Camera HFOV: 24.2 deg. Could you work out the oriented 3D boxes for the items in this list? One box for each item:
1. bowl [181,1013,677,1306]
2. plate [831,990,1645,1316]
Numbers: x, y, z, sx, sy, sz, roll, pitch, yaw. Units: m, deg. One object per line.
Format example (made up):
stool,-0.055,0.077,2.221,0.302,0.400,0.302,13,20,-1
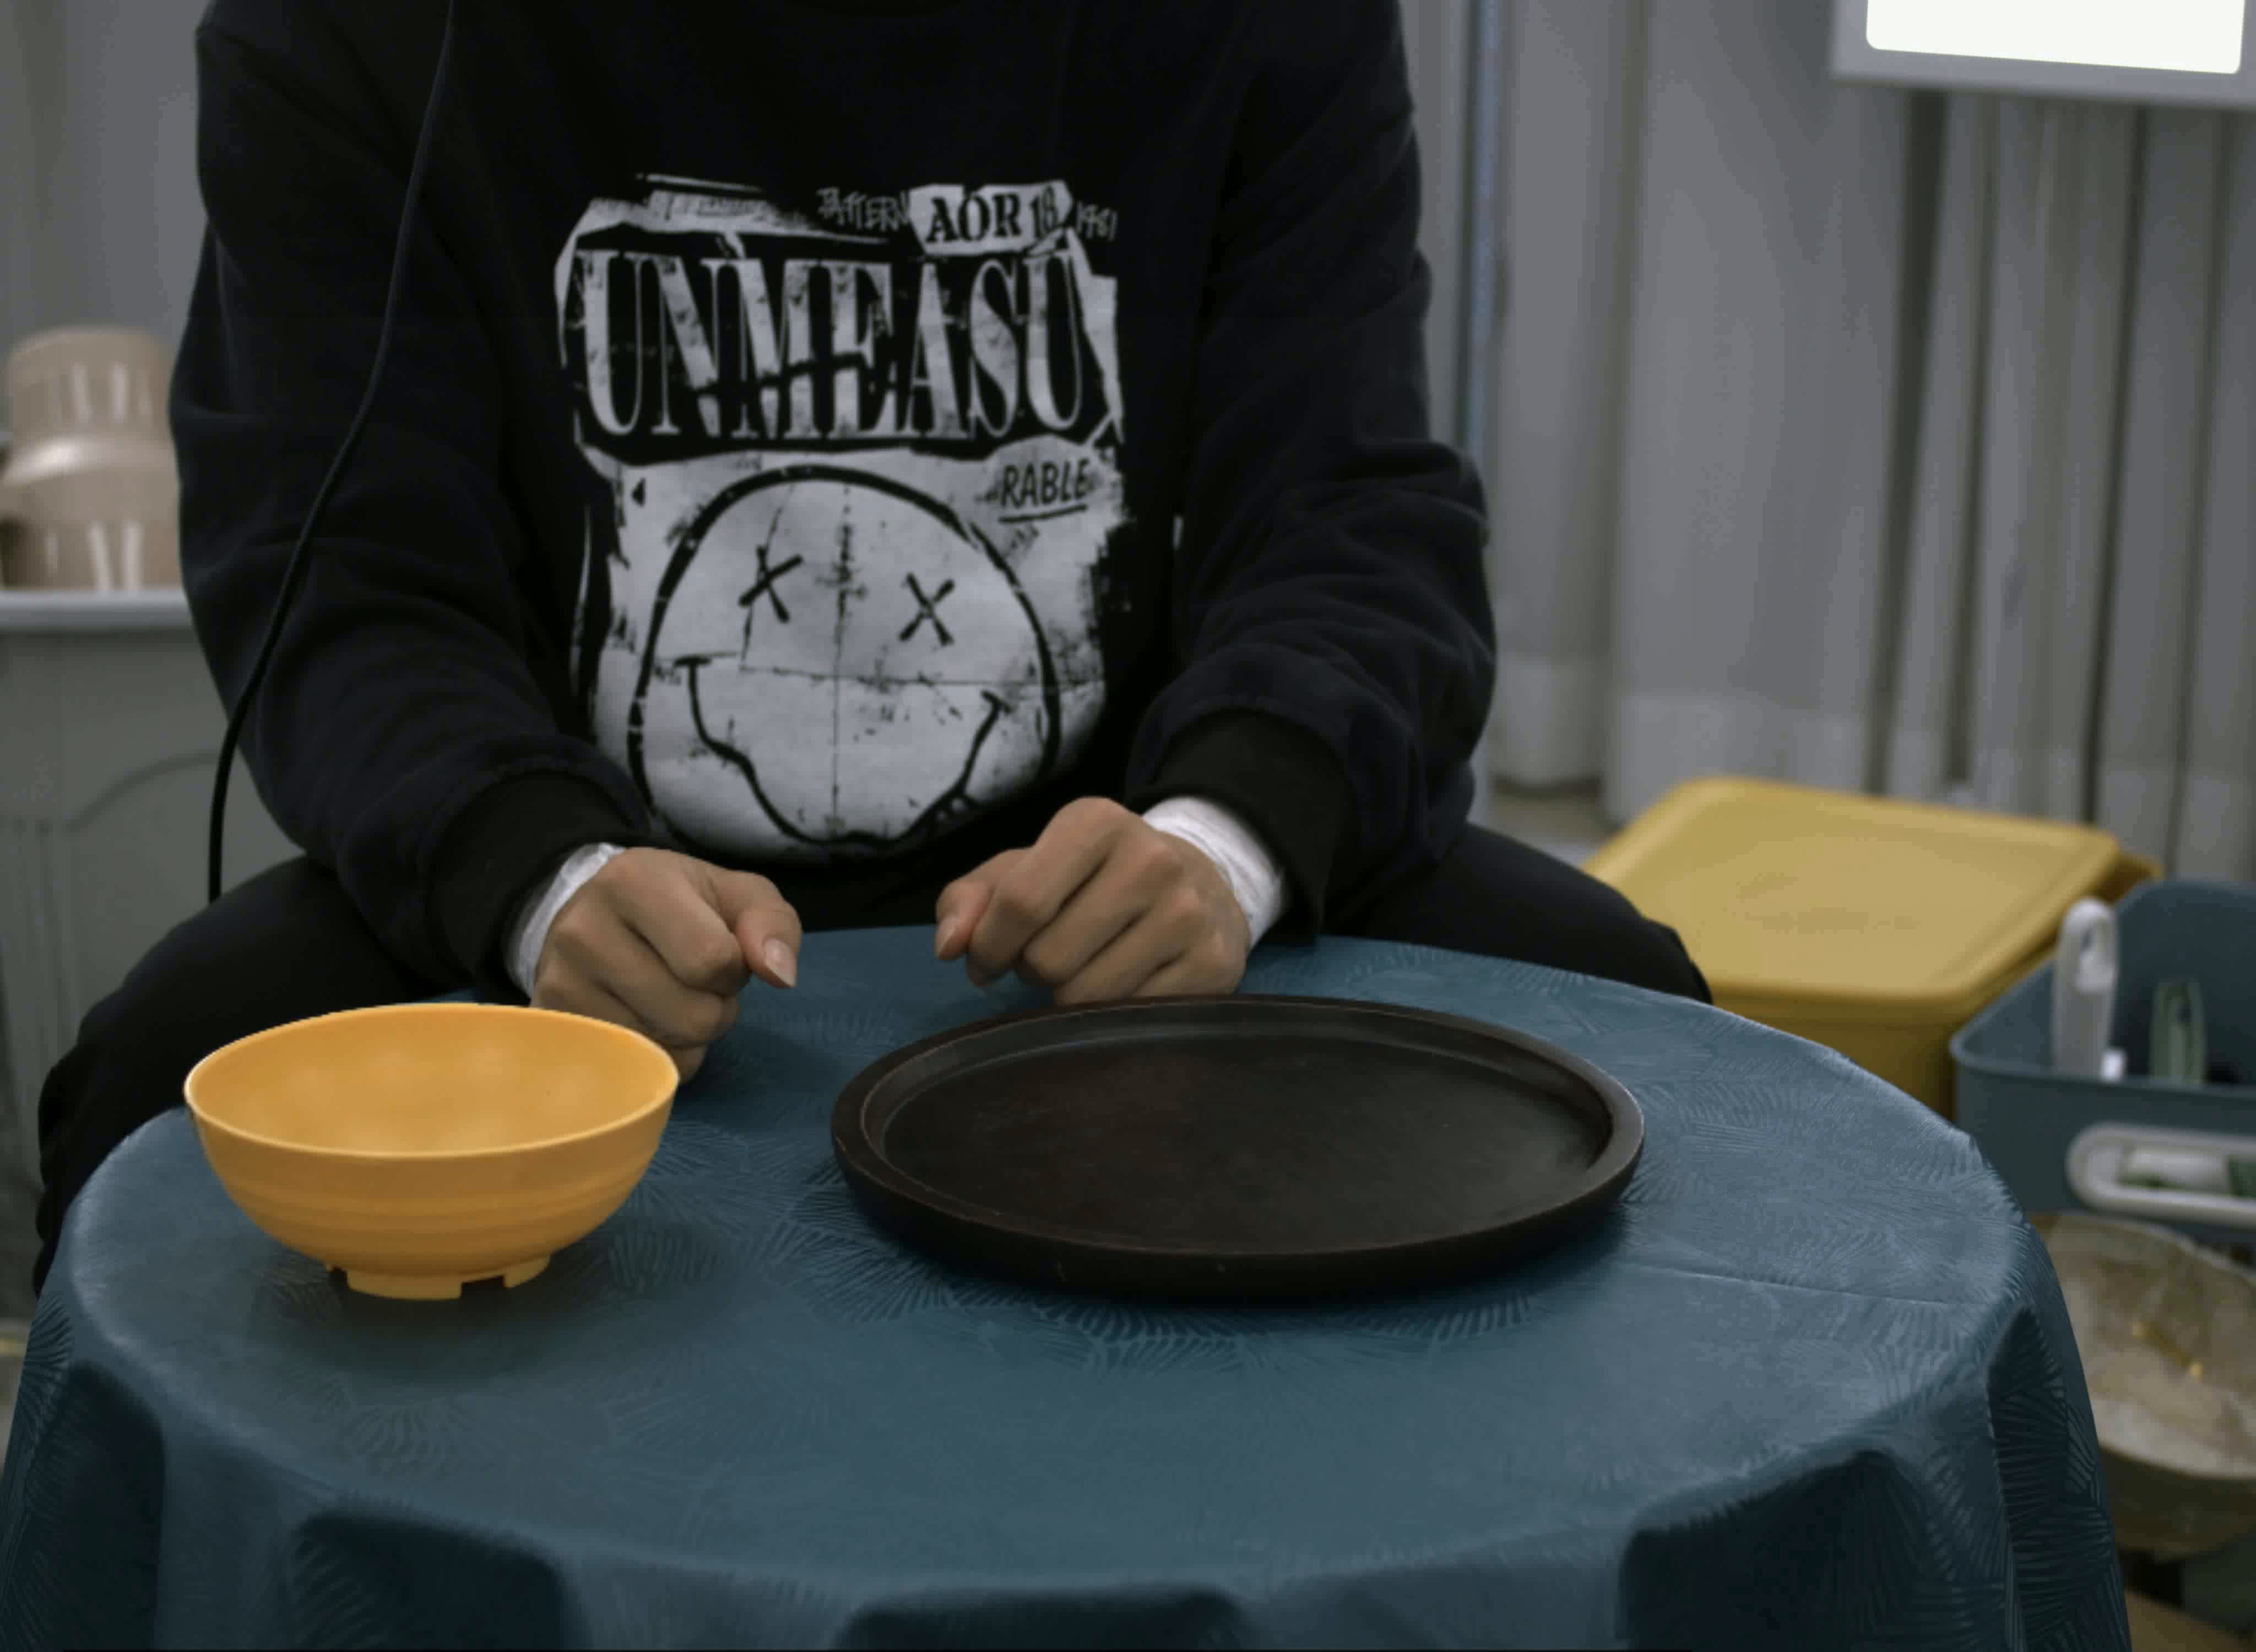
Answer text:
bowl,-0.205,0.102,1.550,0.145,0.060,0.144,2,14,0
plate,0.034,0.099,1.635,0.254,0.029,0.253,-1,16,1
